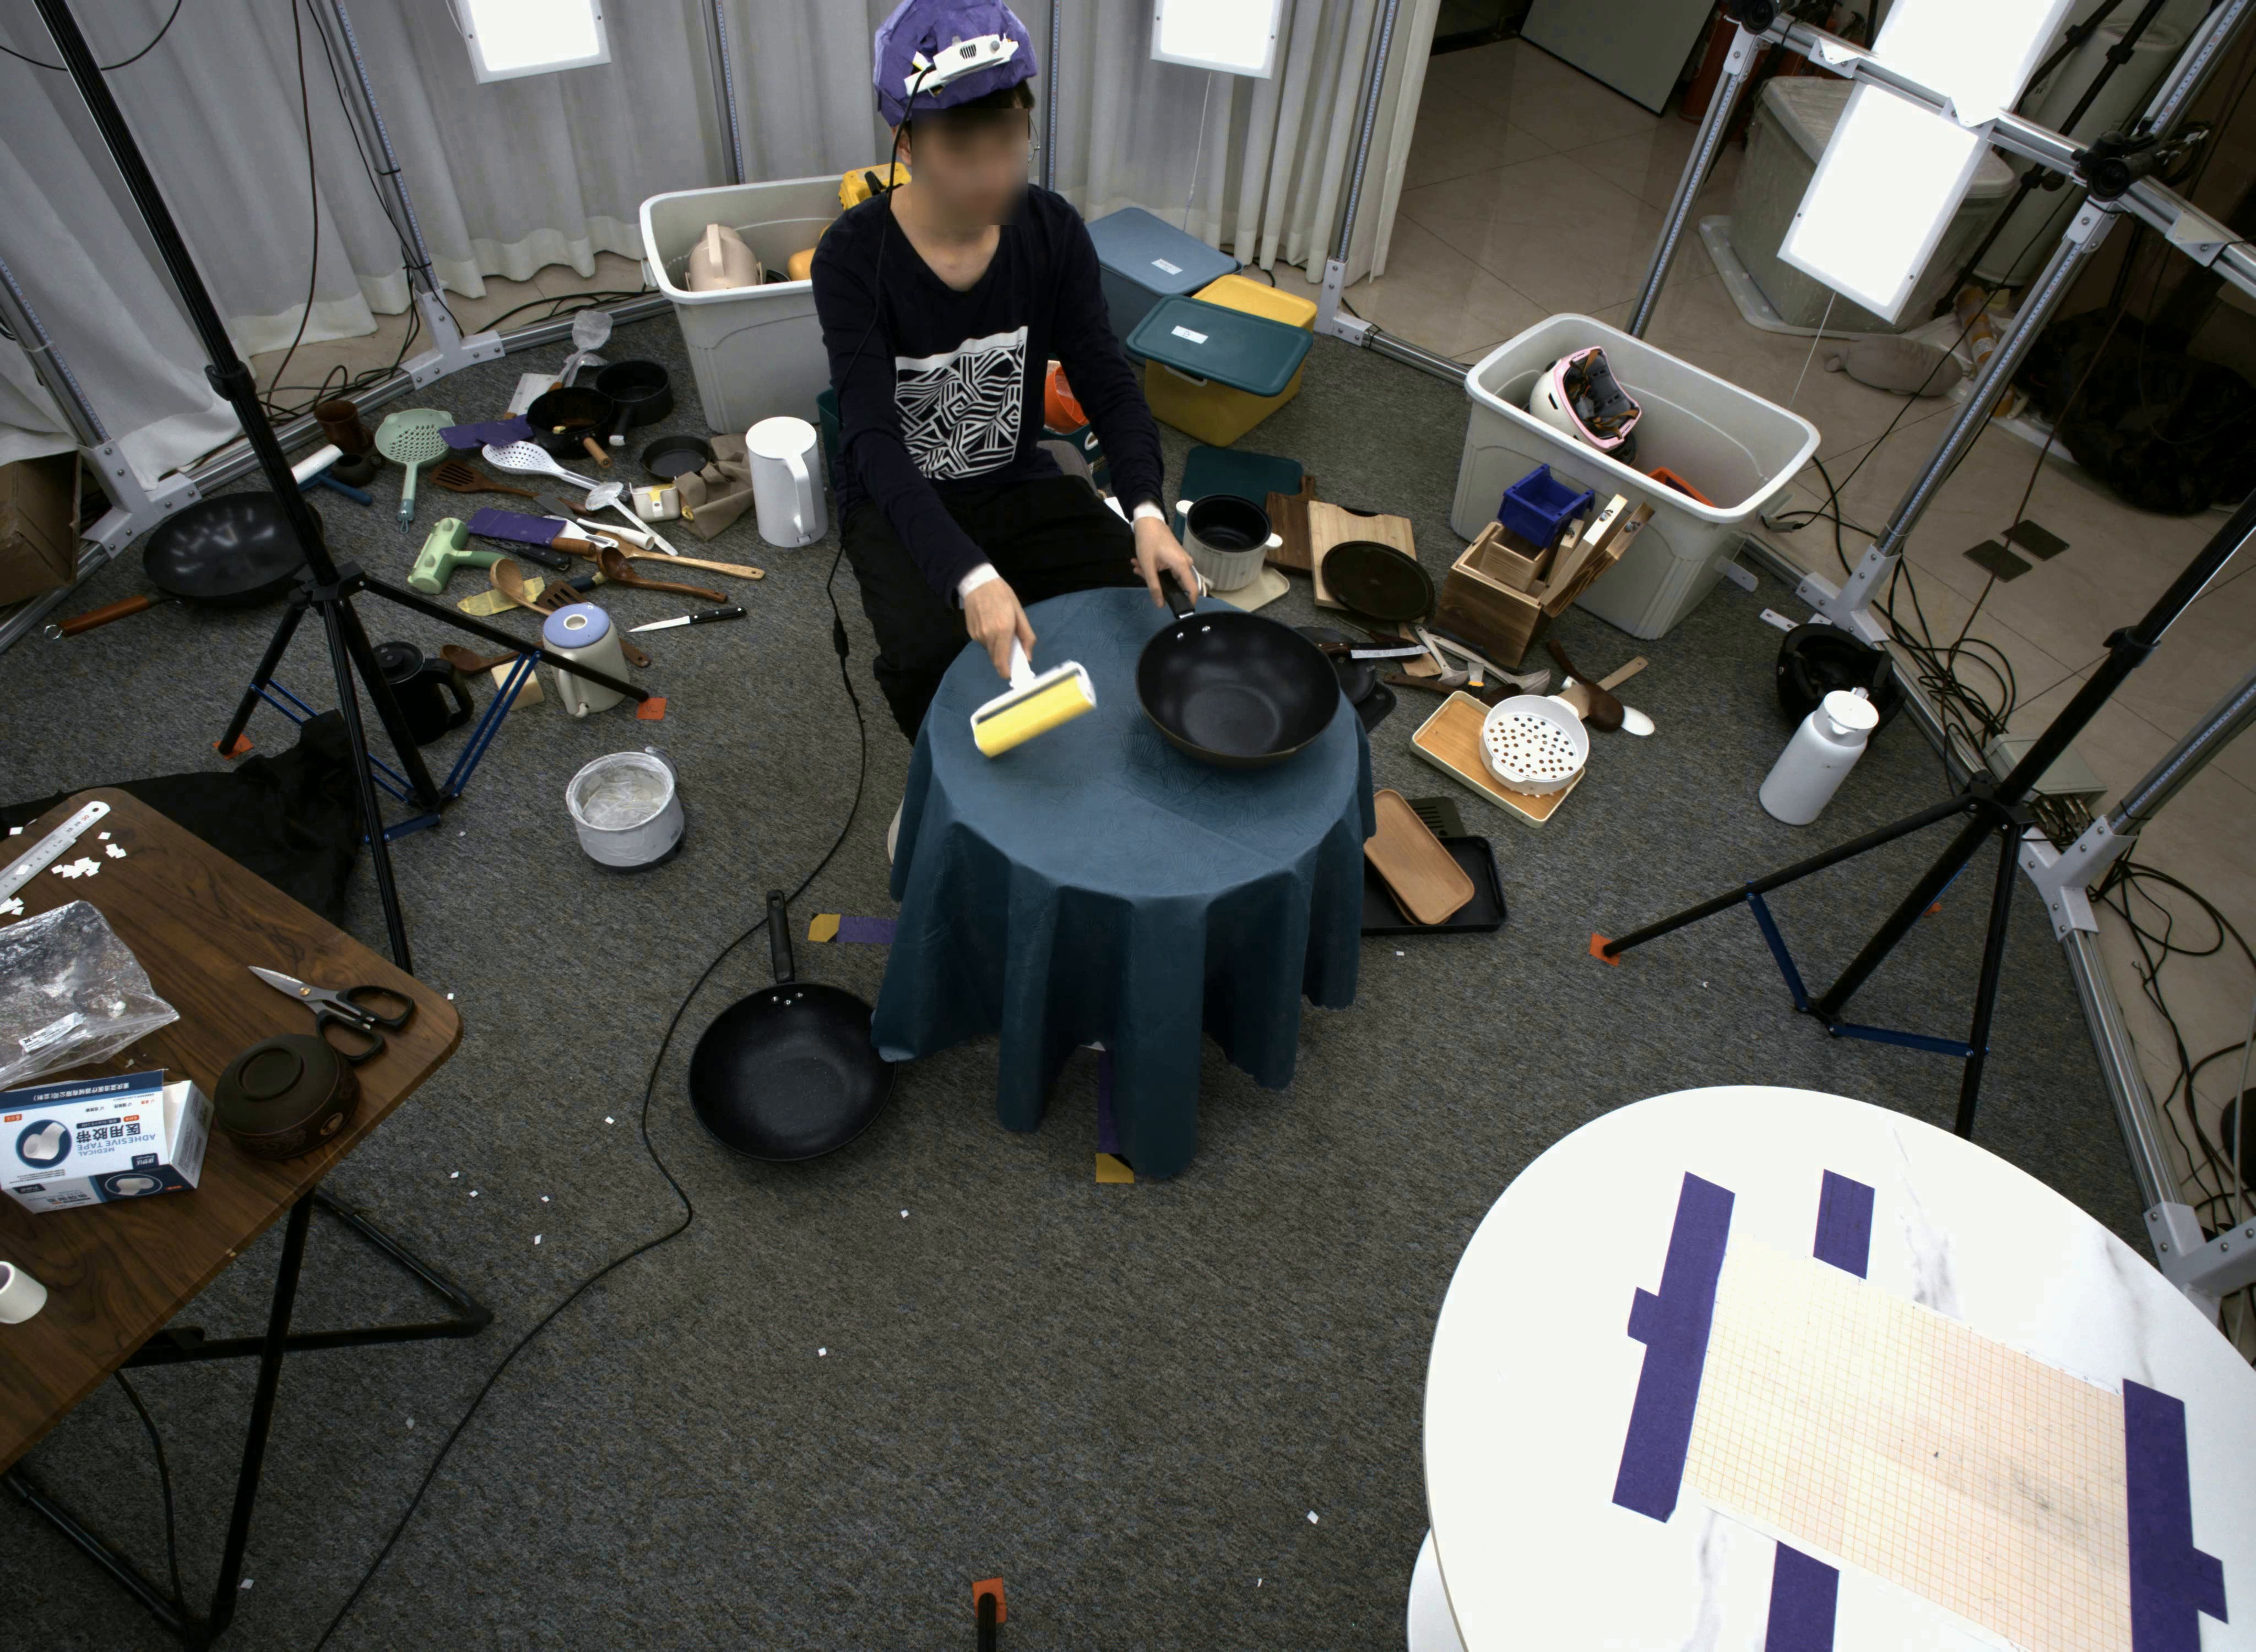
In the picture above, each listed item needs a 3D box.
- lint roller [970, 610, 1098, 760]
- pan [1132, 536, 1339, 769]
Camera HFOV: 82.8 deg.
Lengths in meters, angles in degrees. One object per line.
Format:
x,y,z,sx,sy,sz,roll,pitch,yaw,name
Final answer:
-0.148,-0.206,1.713,0.174,0.051,0.194,-25,78,10,lint roller
0.104,-0.241,1.824,0.288,0.085,0.473,-18,54,-20,pan
